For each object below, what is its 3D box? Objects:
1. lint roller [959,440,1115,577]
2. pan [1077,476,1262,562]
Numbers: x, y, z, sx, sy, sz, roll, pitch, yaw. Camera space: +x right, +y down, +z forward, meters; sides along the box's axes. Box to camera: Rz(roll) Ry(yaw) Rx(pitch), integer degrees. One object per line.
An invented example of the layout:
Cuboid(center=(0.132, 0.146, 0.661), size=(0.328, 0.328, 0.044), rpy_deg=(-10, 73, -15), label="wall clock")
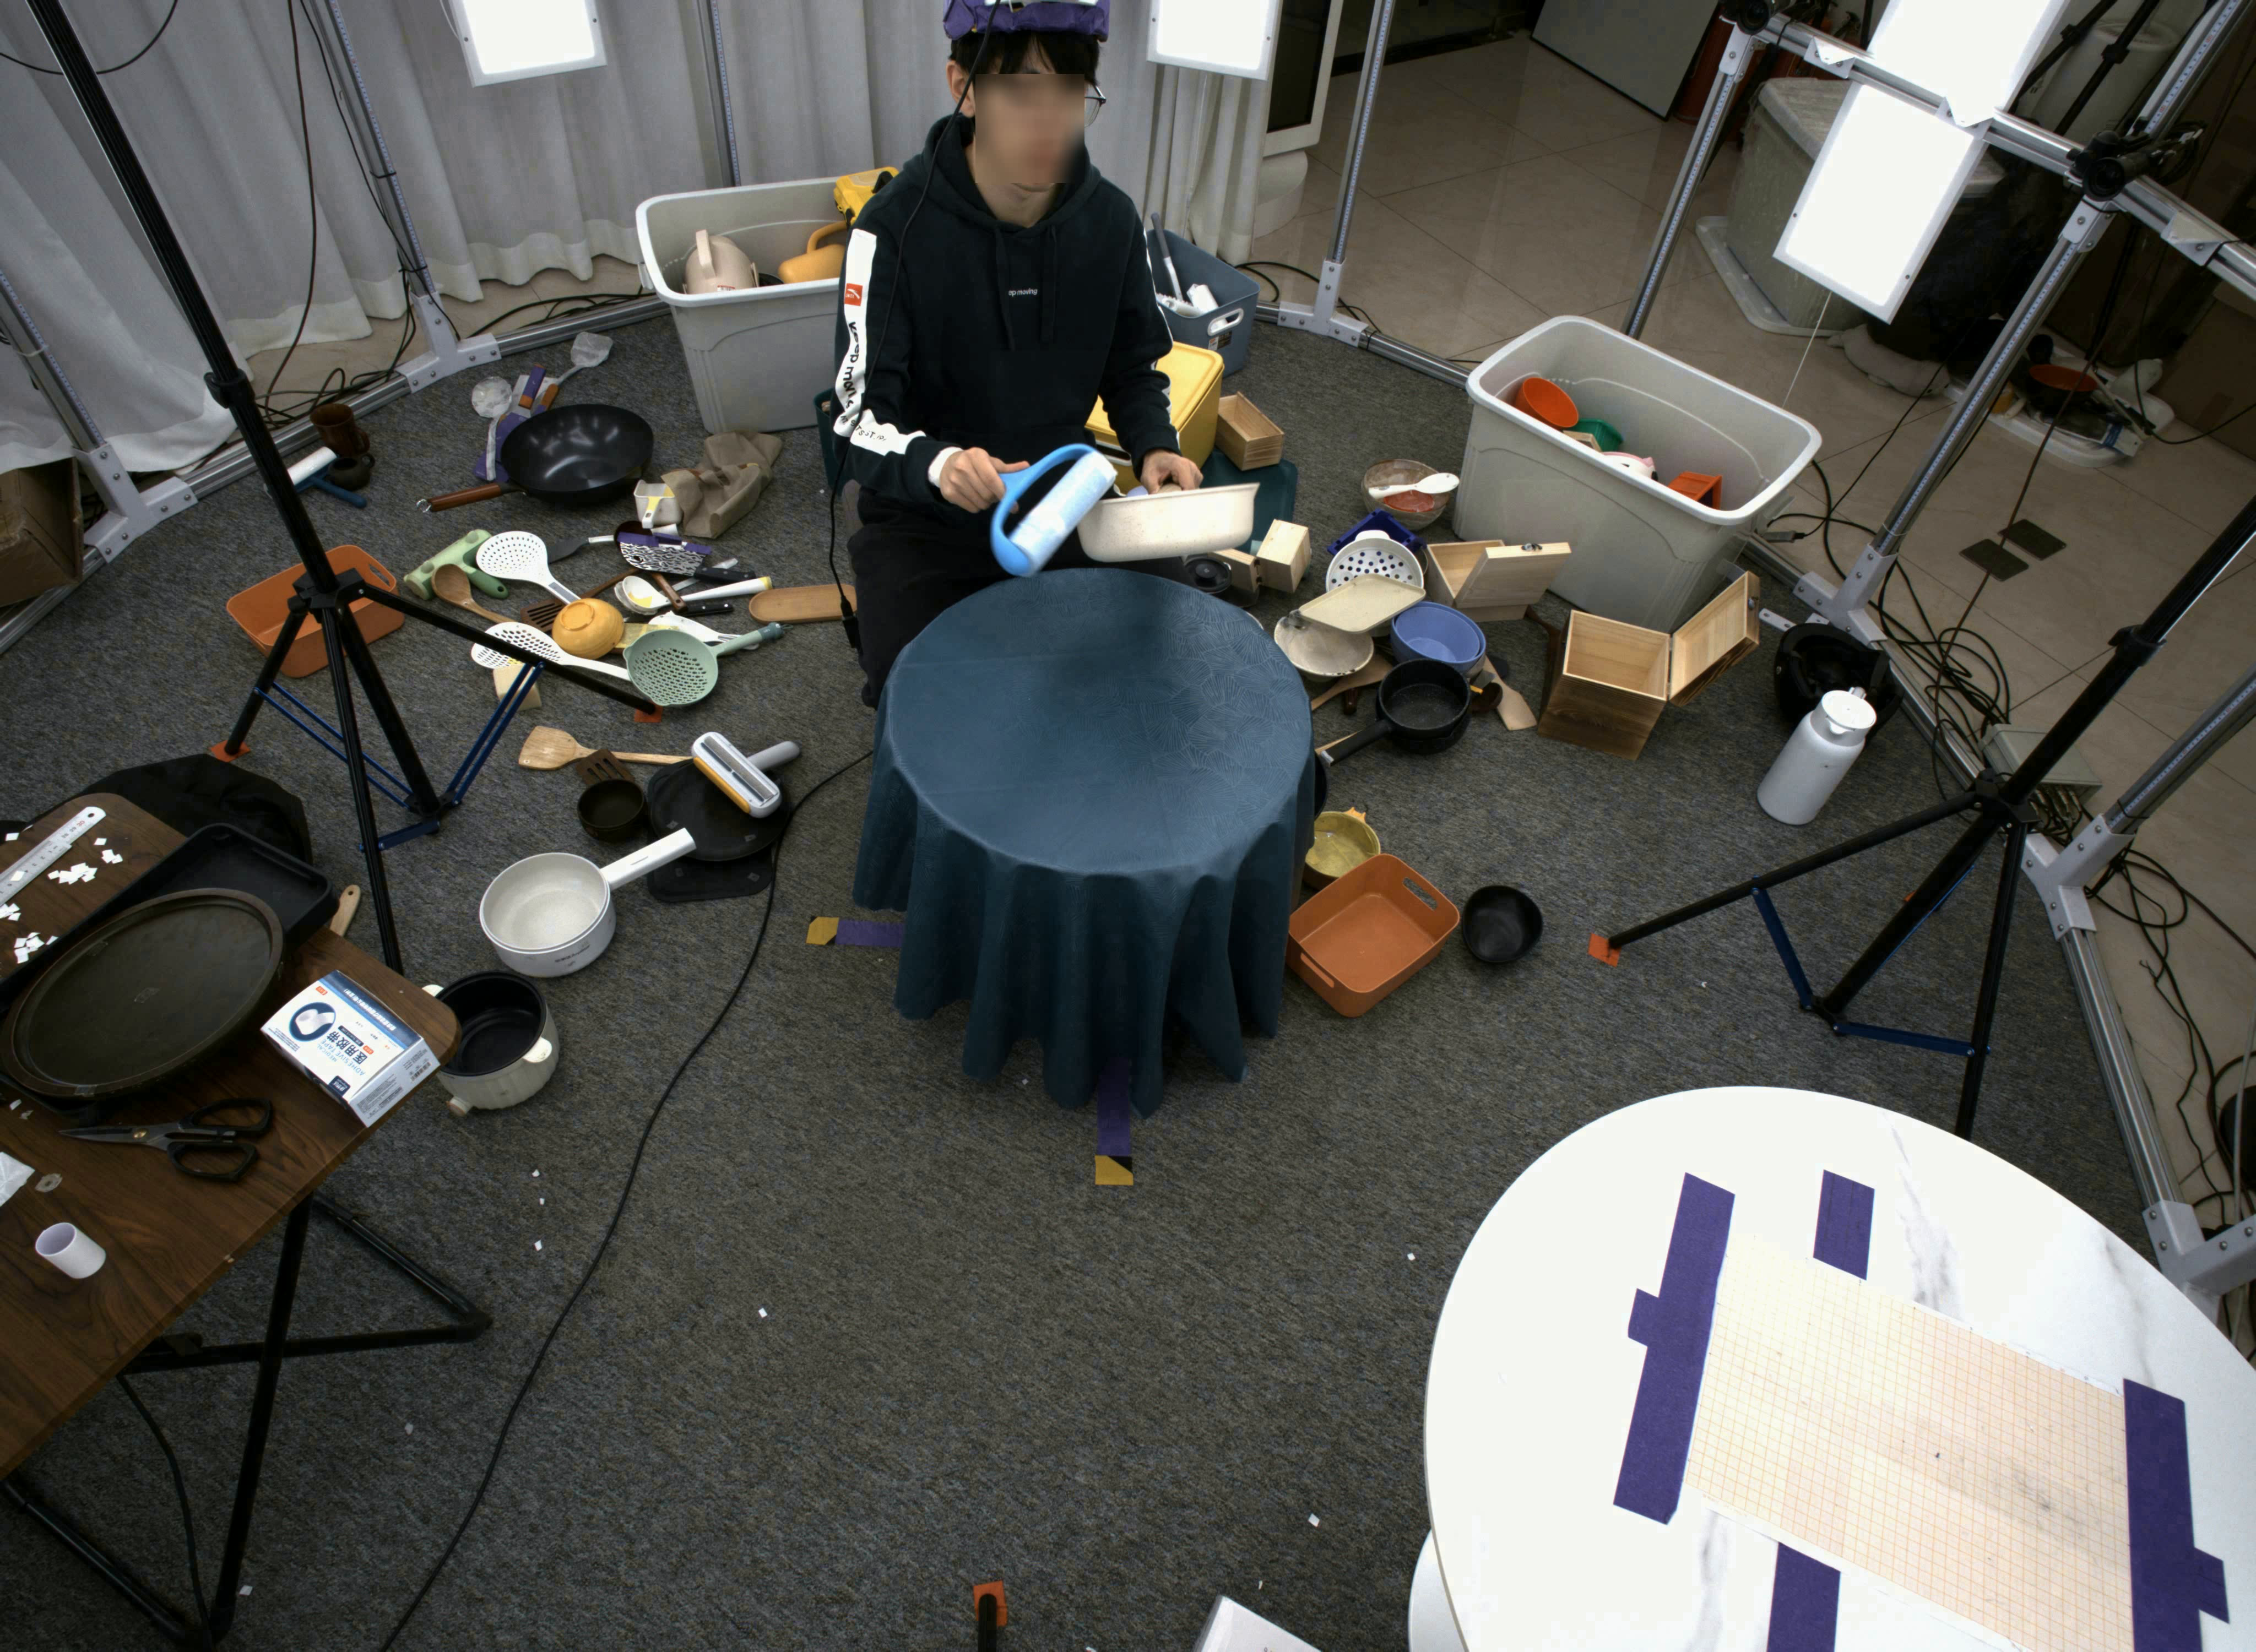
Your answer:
Cuboid(center=(-0.137, -0.411, 1.621), size=(0.181, 0.066, 0.233), rpy_deg=(19, 58, 17), label="lint roller")
Cuboid(center=(0.062, -0.439, 1.826), size=(0.263, 0.101, 0.439), rpy_deg=(-7, 13, 7), label="pan")
